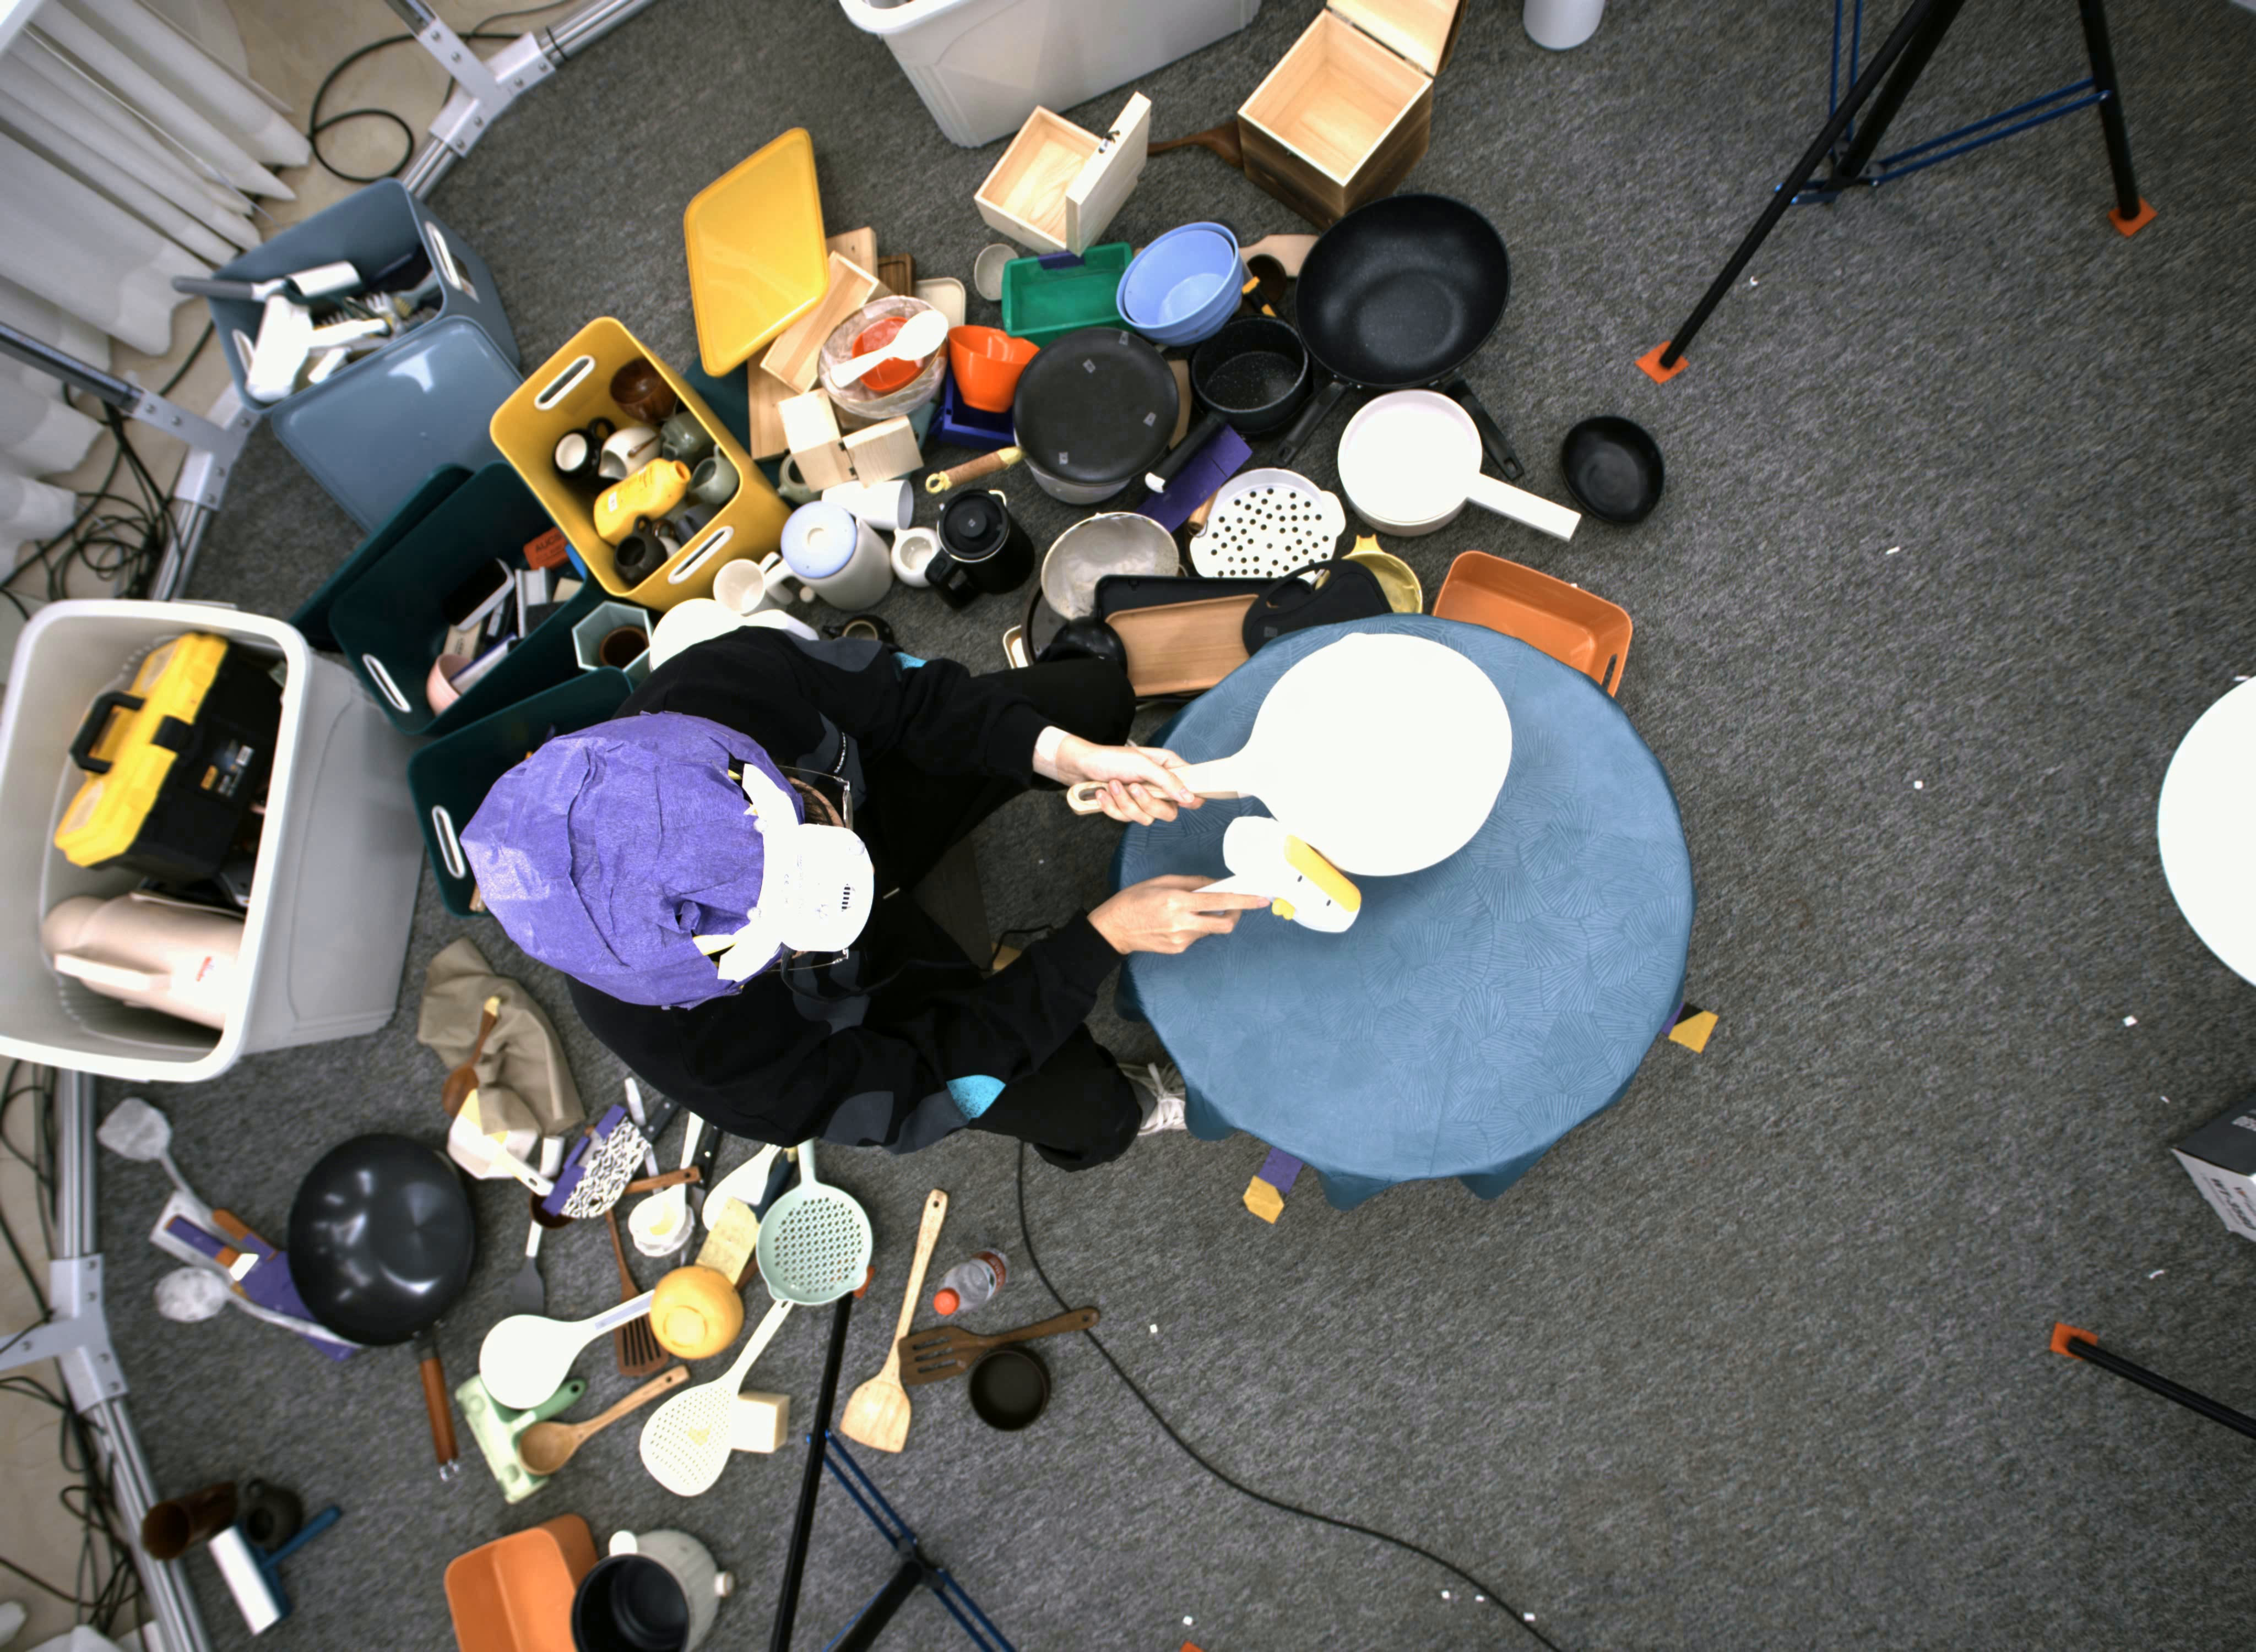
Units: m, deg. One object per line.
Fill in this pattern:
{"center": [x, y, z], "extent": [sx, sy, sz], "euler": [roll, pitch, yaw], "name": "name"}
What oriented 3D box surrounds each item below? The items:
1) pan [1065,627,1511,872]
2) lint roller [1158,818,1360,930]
{"center": [0.159, -0.052, 1.373], "extent": [0.437, 0.103, 0.258], "euler": [-13, 66, 9], "name": "pan"}
{"center": [0.112, 0.062, 1.381], "extent": [0.195, 0.194, 0.073], "euler": [-11, 63, 39], "name": "lint roller"}
